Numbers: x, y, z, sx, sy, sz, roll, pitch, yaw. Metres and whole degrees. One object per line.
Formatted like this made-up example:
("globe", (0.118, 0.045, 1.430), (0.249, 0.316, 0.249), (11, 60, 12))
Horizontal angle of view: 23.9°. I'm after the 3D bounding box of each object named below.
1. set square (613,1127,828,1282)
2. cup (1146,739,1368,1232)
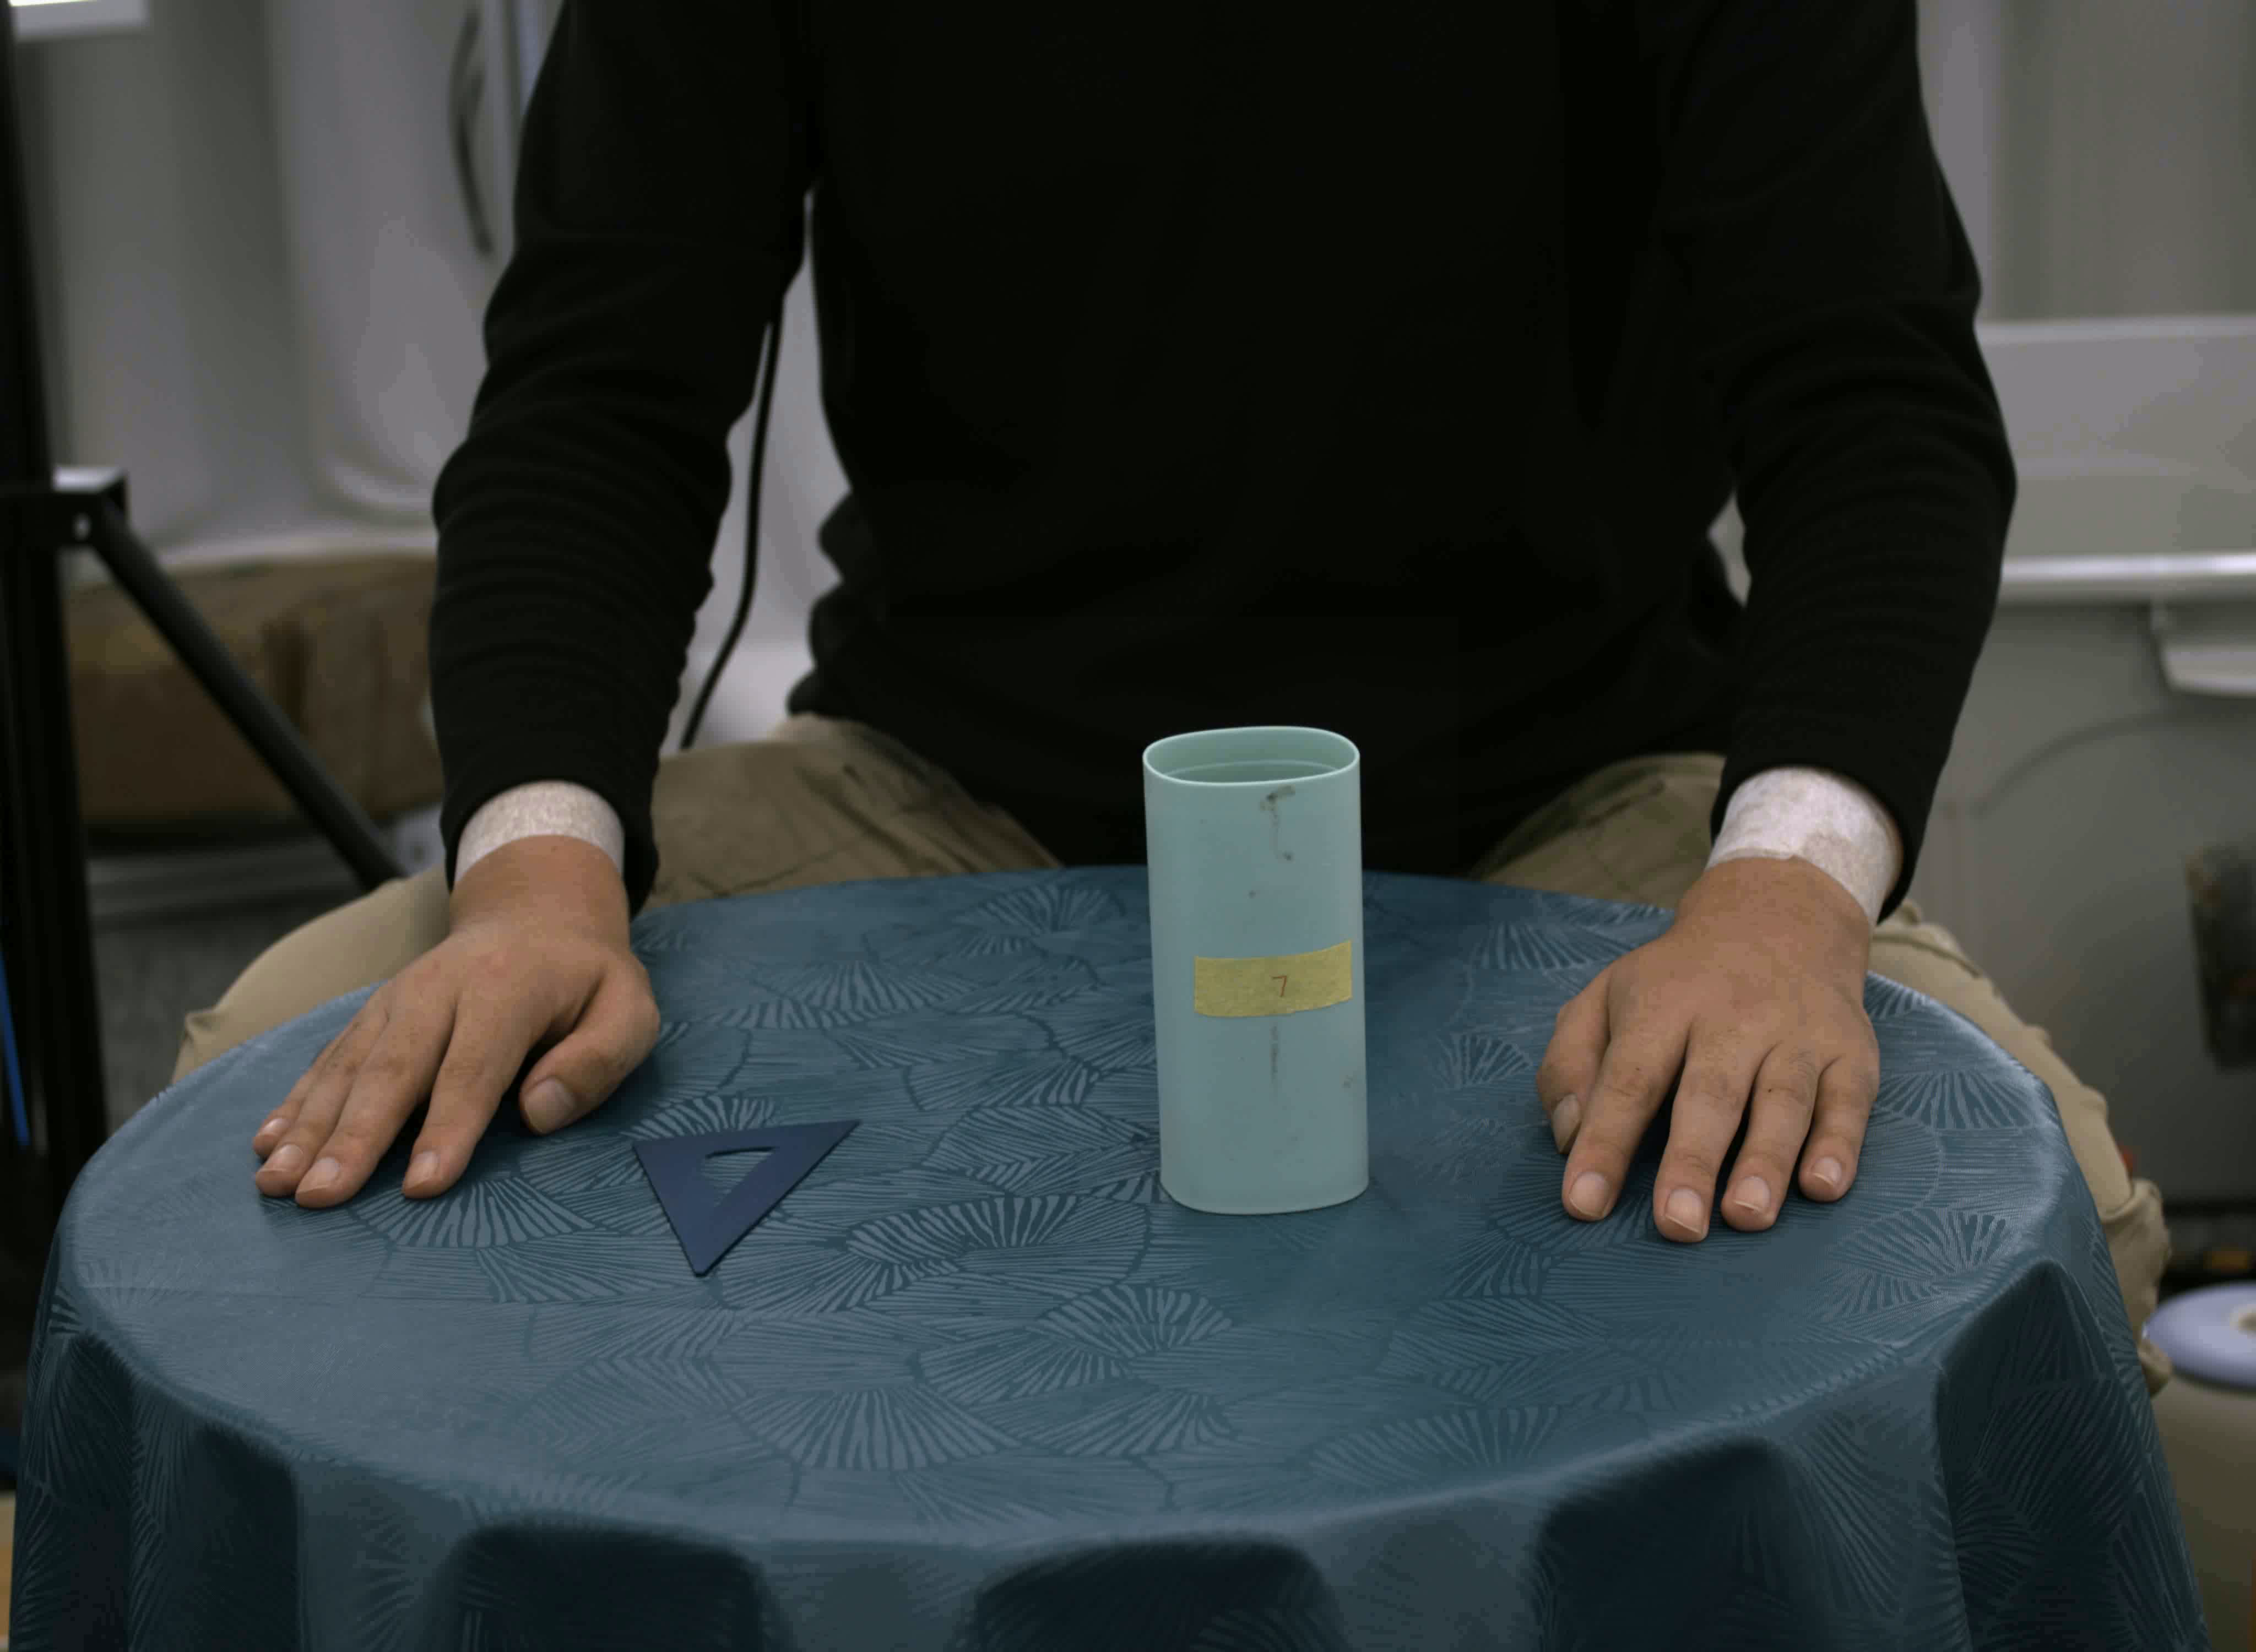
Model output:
("set square", (-0.139, 0.108, 1.571), (0.062, 0.006, 0.130), (5, 17, 20))
("cup", (0.038, 0.045, 1.547), (0.066, 0.132, 0.067), (-3, 15, -1))
